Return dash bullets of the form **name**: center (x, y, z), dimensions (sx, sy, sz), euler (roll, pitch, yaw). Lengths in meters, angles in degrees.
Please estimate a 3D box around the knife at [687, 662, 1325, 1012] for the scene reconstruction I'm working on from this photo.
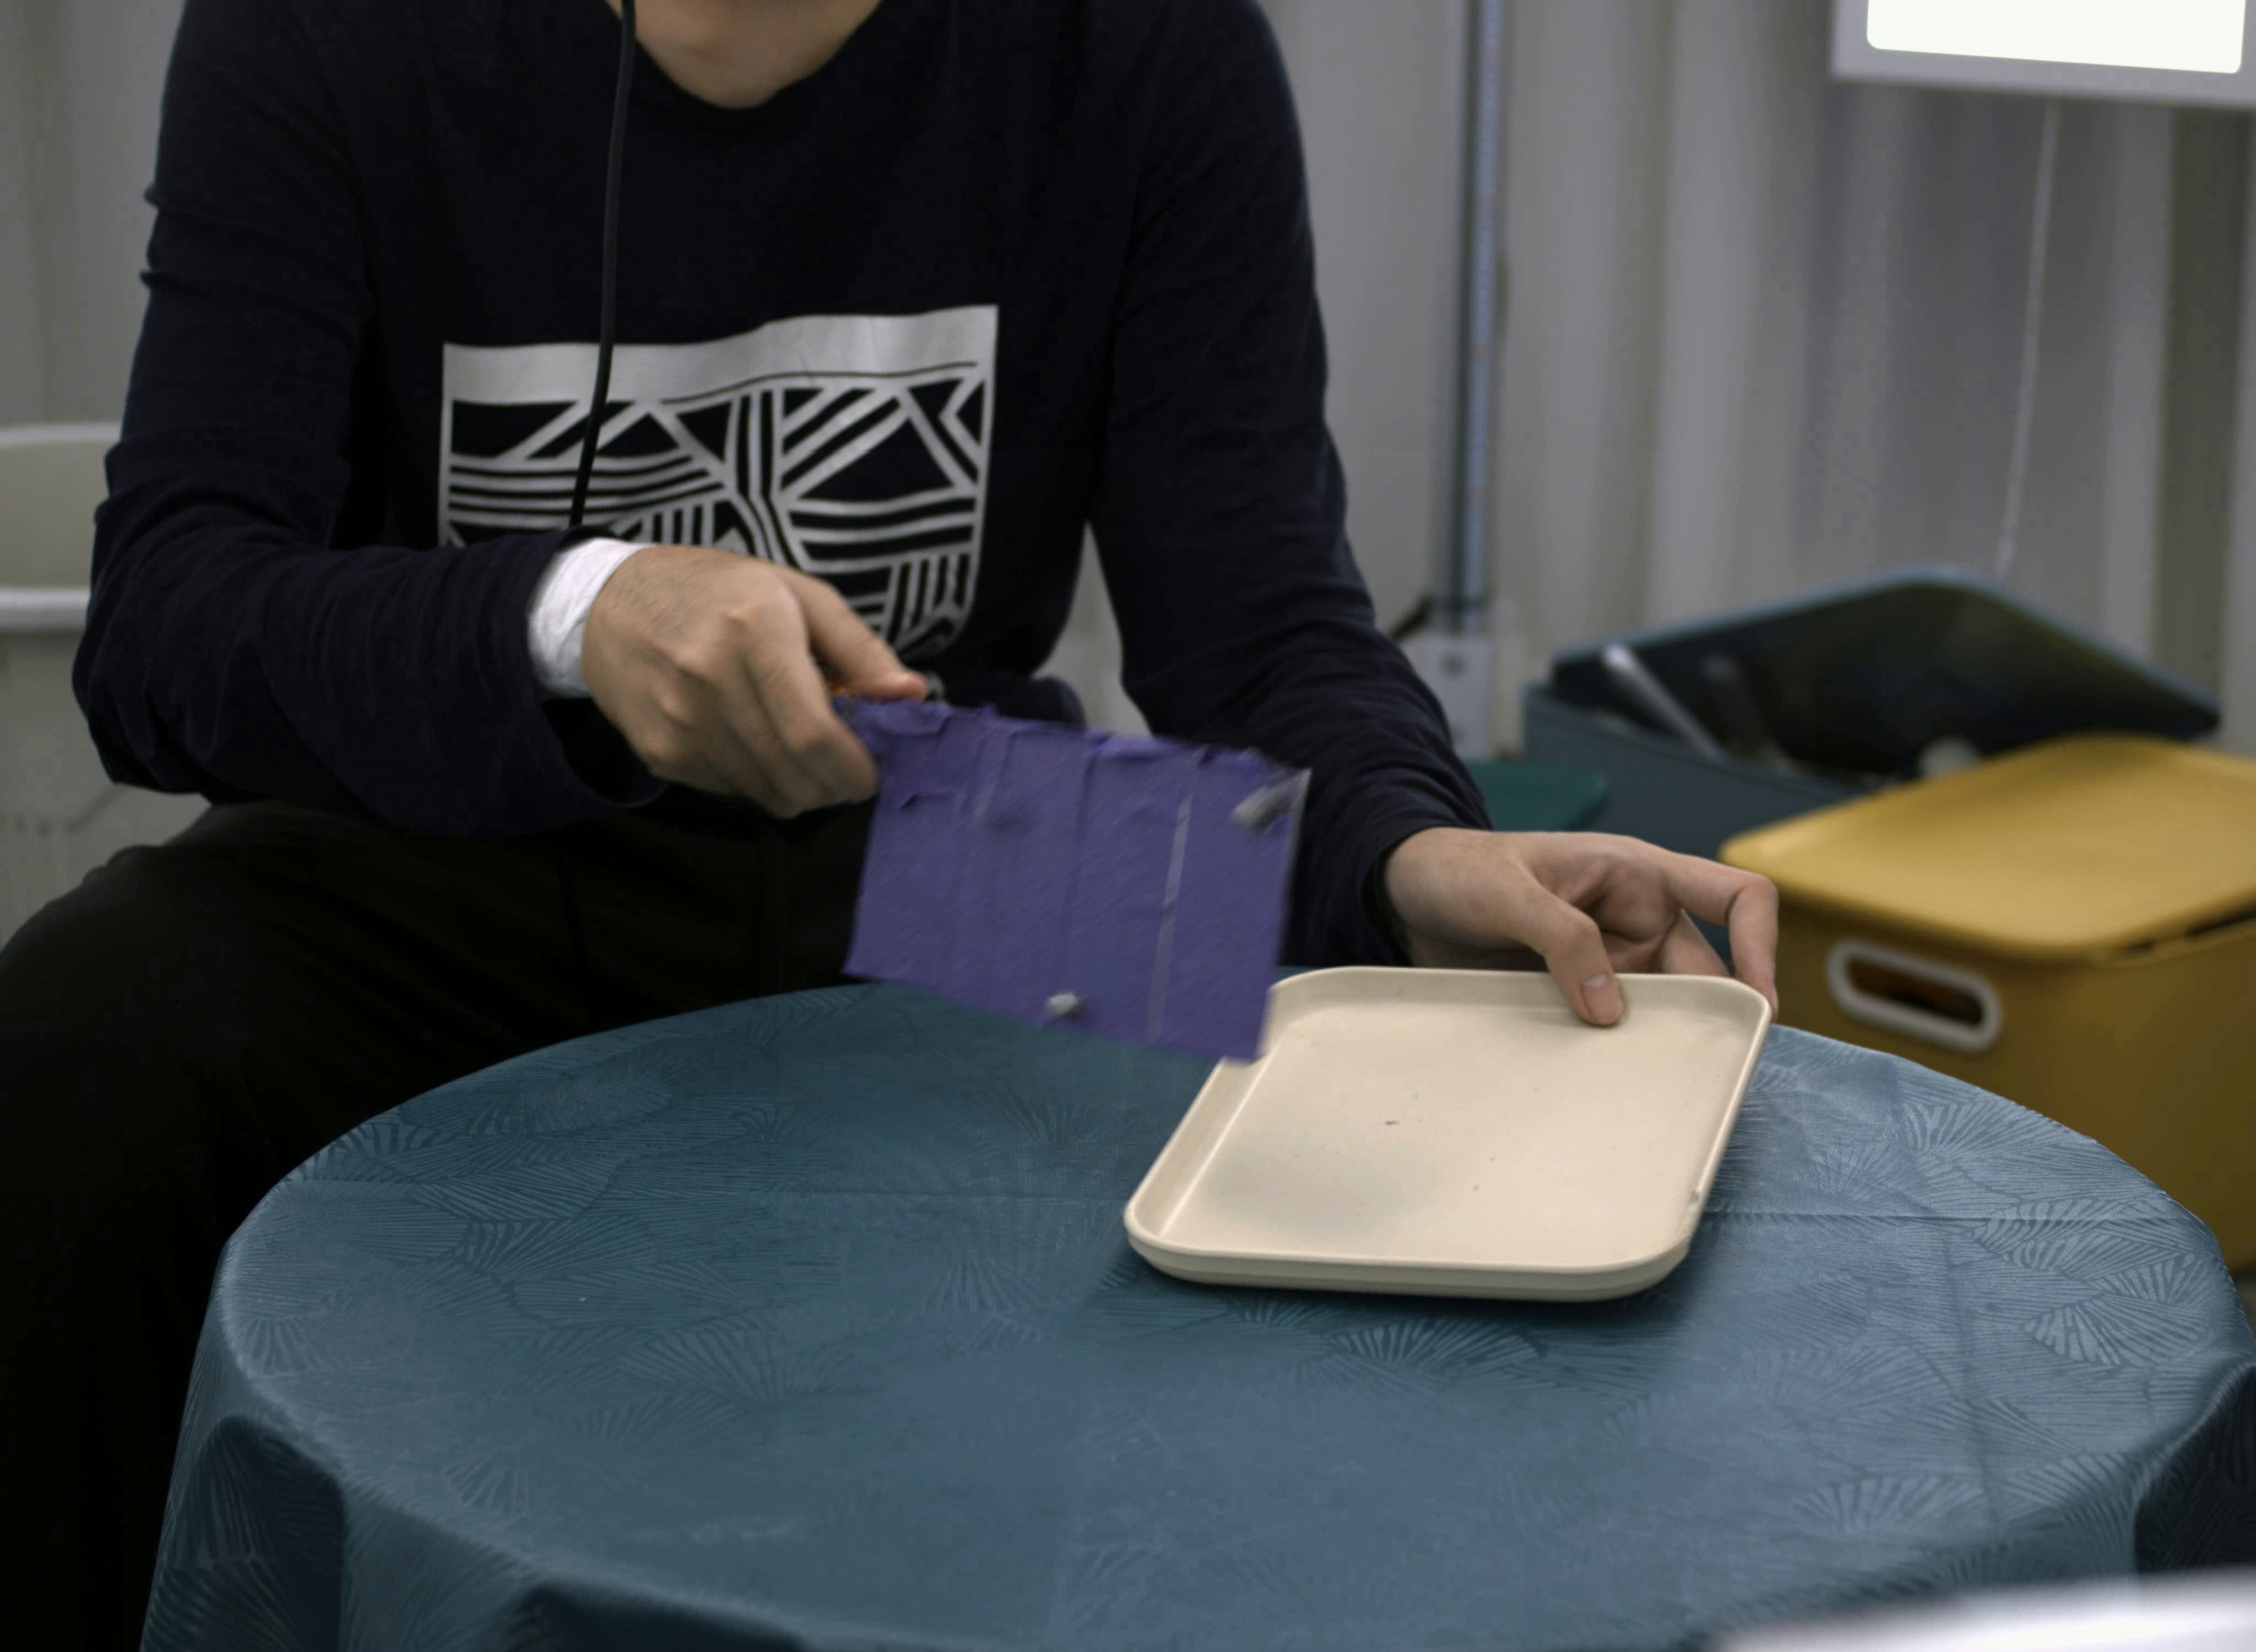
- **knife**: center (-0.047, 0.002, 1.645), dimensions (0.032, 0.104, 0.311), euler (8, 0, -38)

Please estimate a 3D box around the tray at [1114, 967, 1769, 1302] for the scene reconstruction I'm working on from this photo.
- **tray**: center (0.101, 0.094, 1.629), dimensions (0.170, 0.017, 0.239), euler (2, 19, 16)
